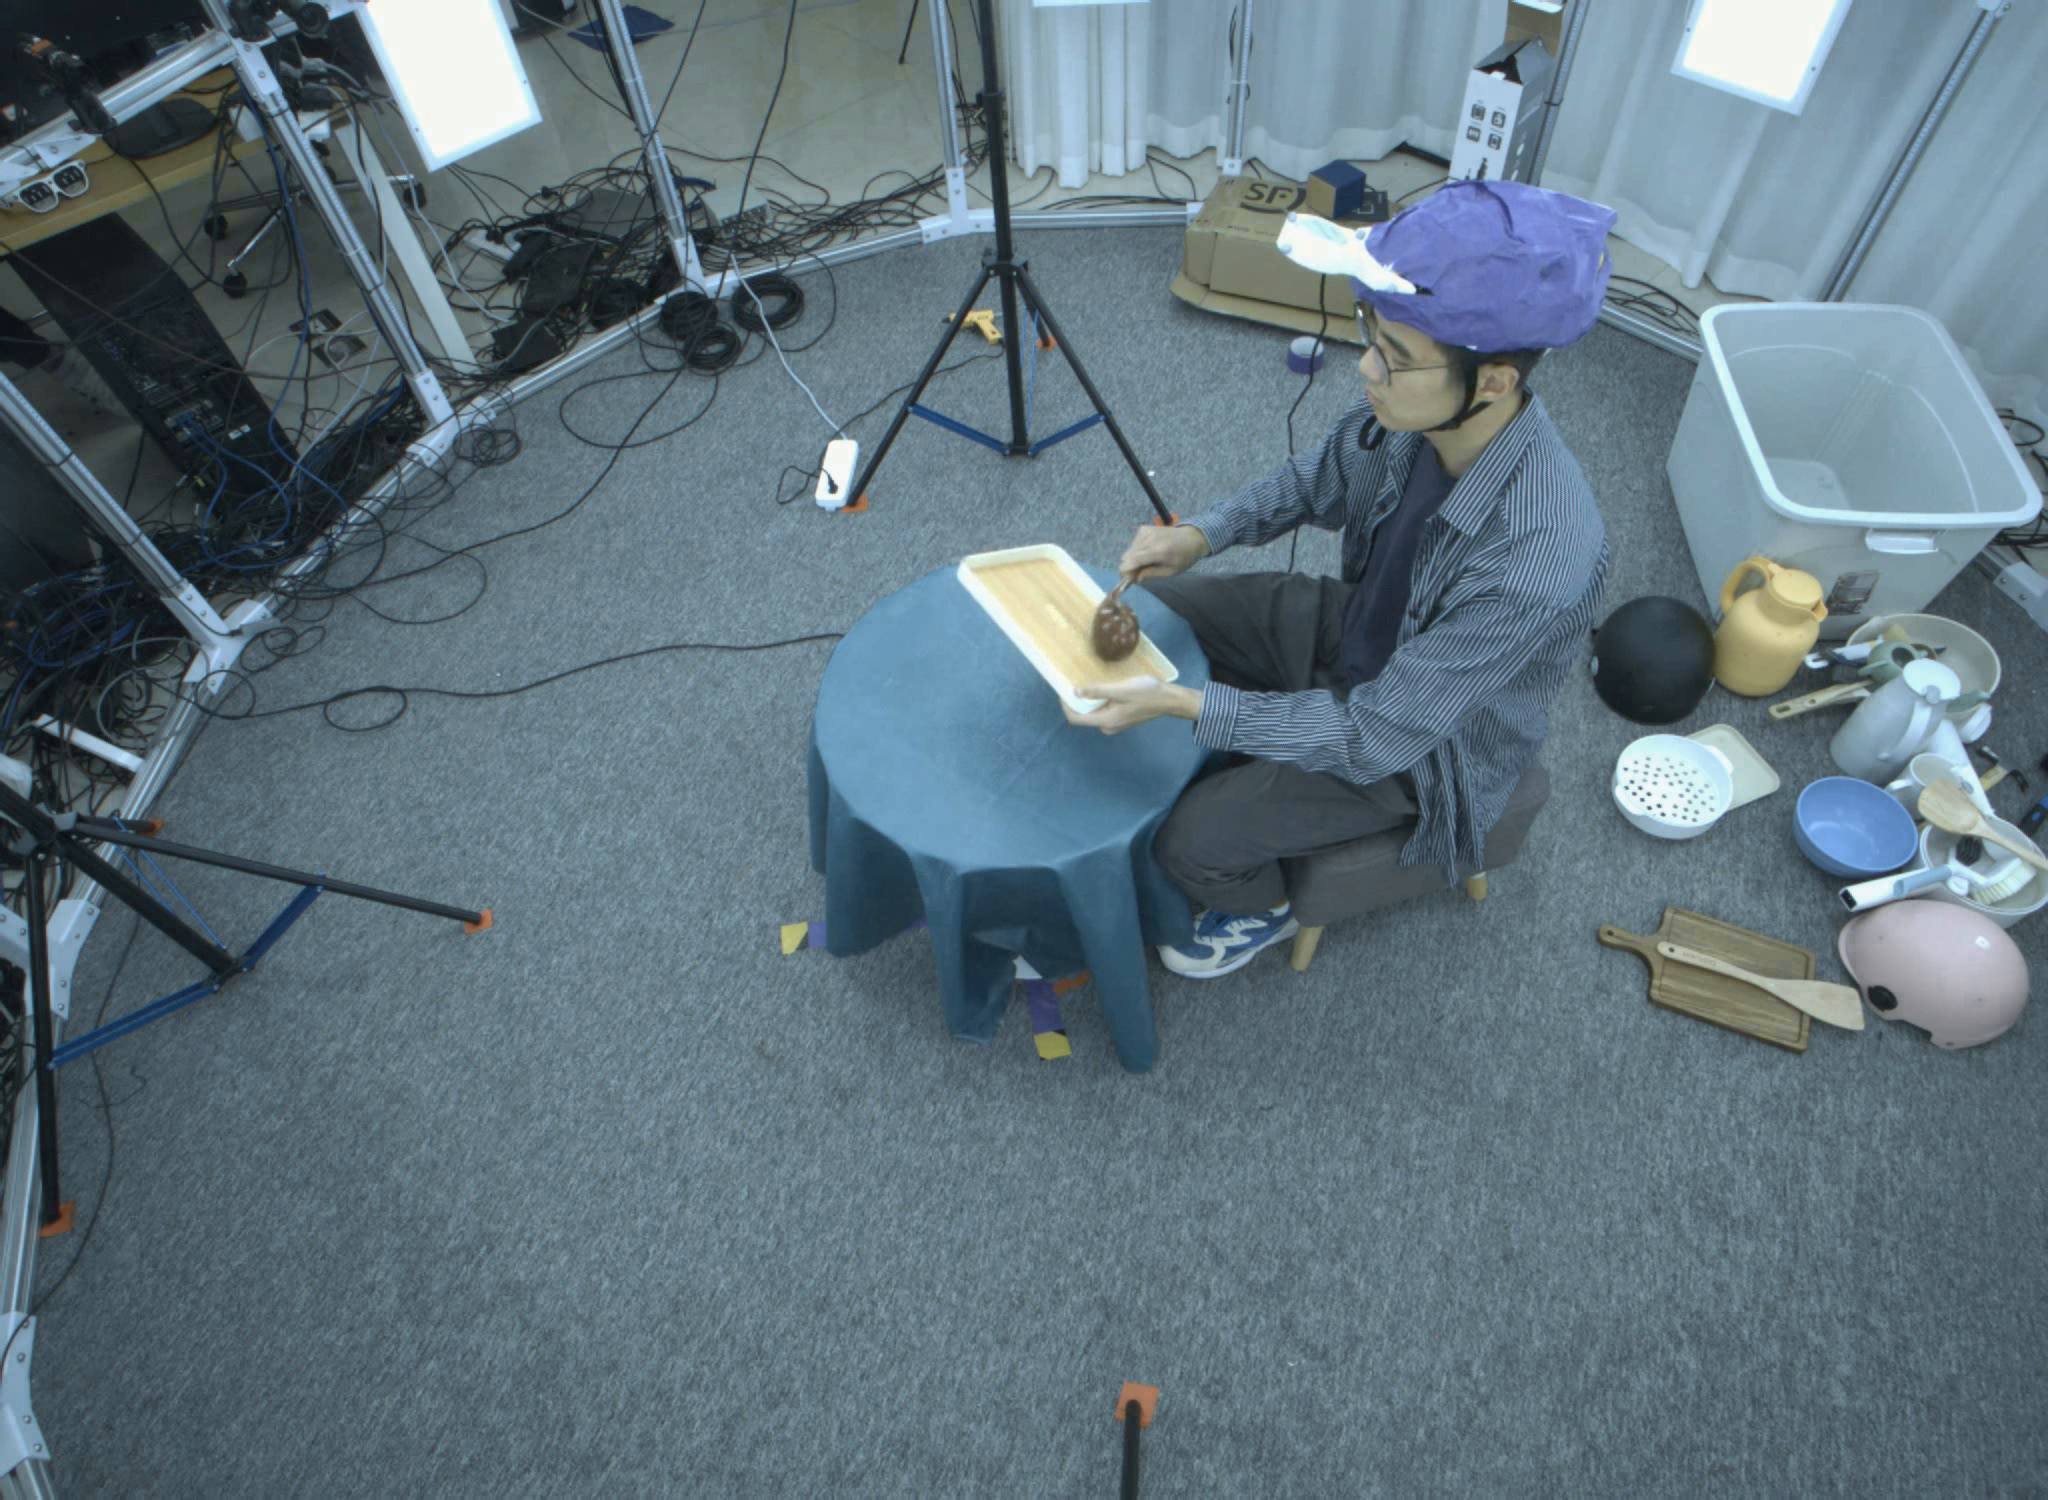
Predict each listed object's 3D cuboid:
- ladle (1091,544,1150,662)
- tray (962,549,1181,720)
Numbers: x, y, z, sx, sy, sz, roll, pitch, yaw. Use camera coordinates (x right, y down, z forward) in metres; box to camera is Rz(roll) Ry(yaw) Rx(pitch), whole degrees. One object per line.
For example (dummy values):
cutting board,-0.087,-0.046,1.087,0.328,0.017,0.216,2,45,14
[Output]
ladle,0.159,-0.215,1.753,0.077,0.081,0.275,46,37,-9
tray,0.064,-0.166,1.697,0.195,0.027,0.295,-16,57,-40
